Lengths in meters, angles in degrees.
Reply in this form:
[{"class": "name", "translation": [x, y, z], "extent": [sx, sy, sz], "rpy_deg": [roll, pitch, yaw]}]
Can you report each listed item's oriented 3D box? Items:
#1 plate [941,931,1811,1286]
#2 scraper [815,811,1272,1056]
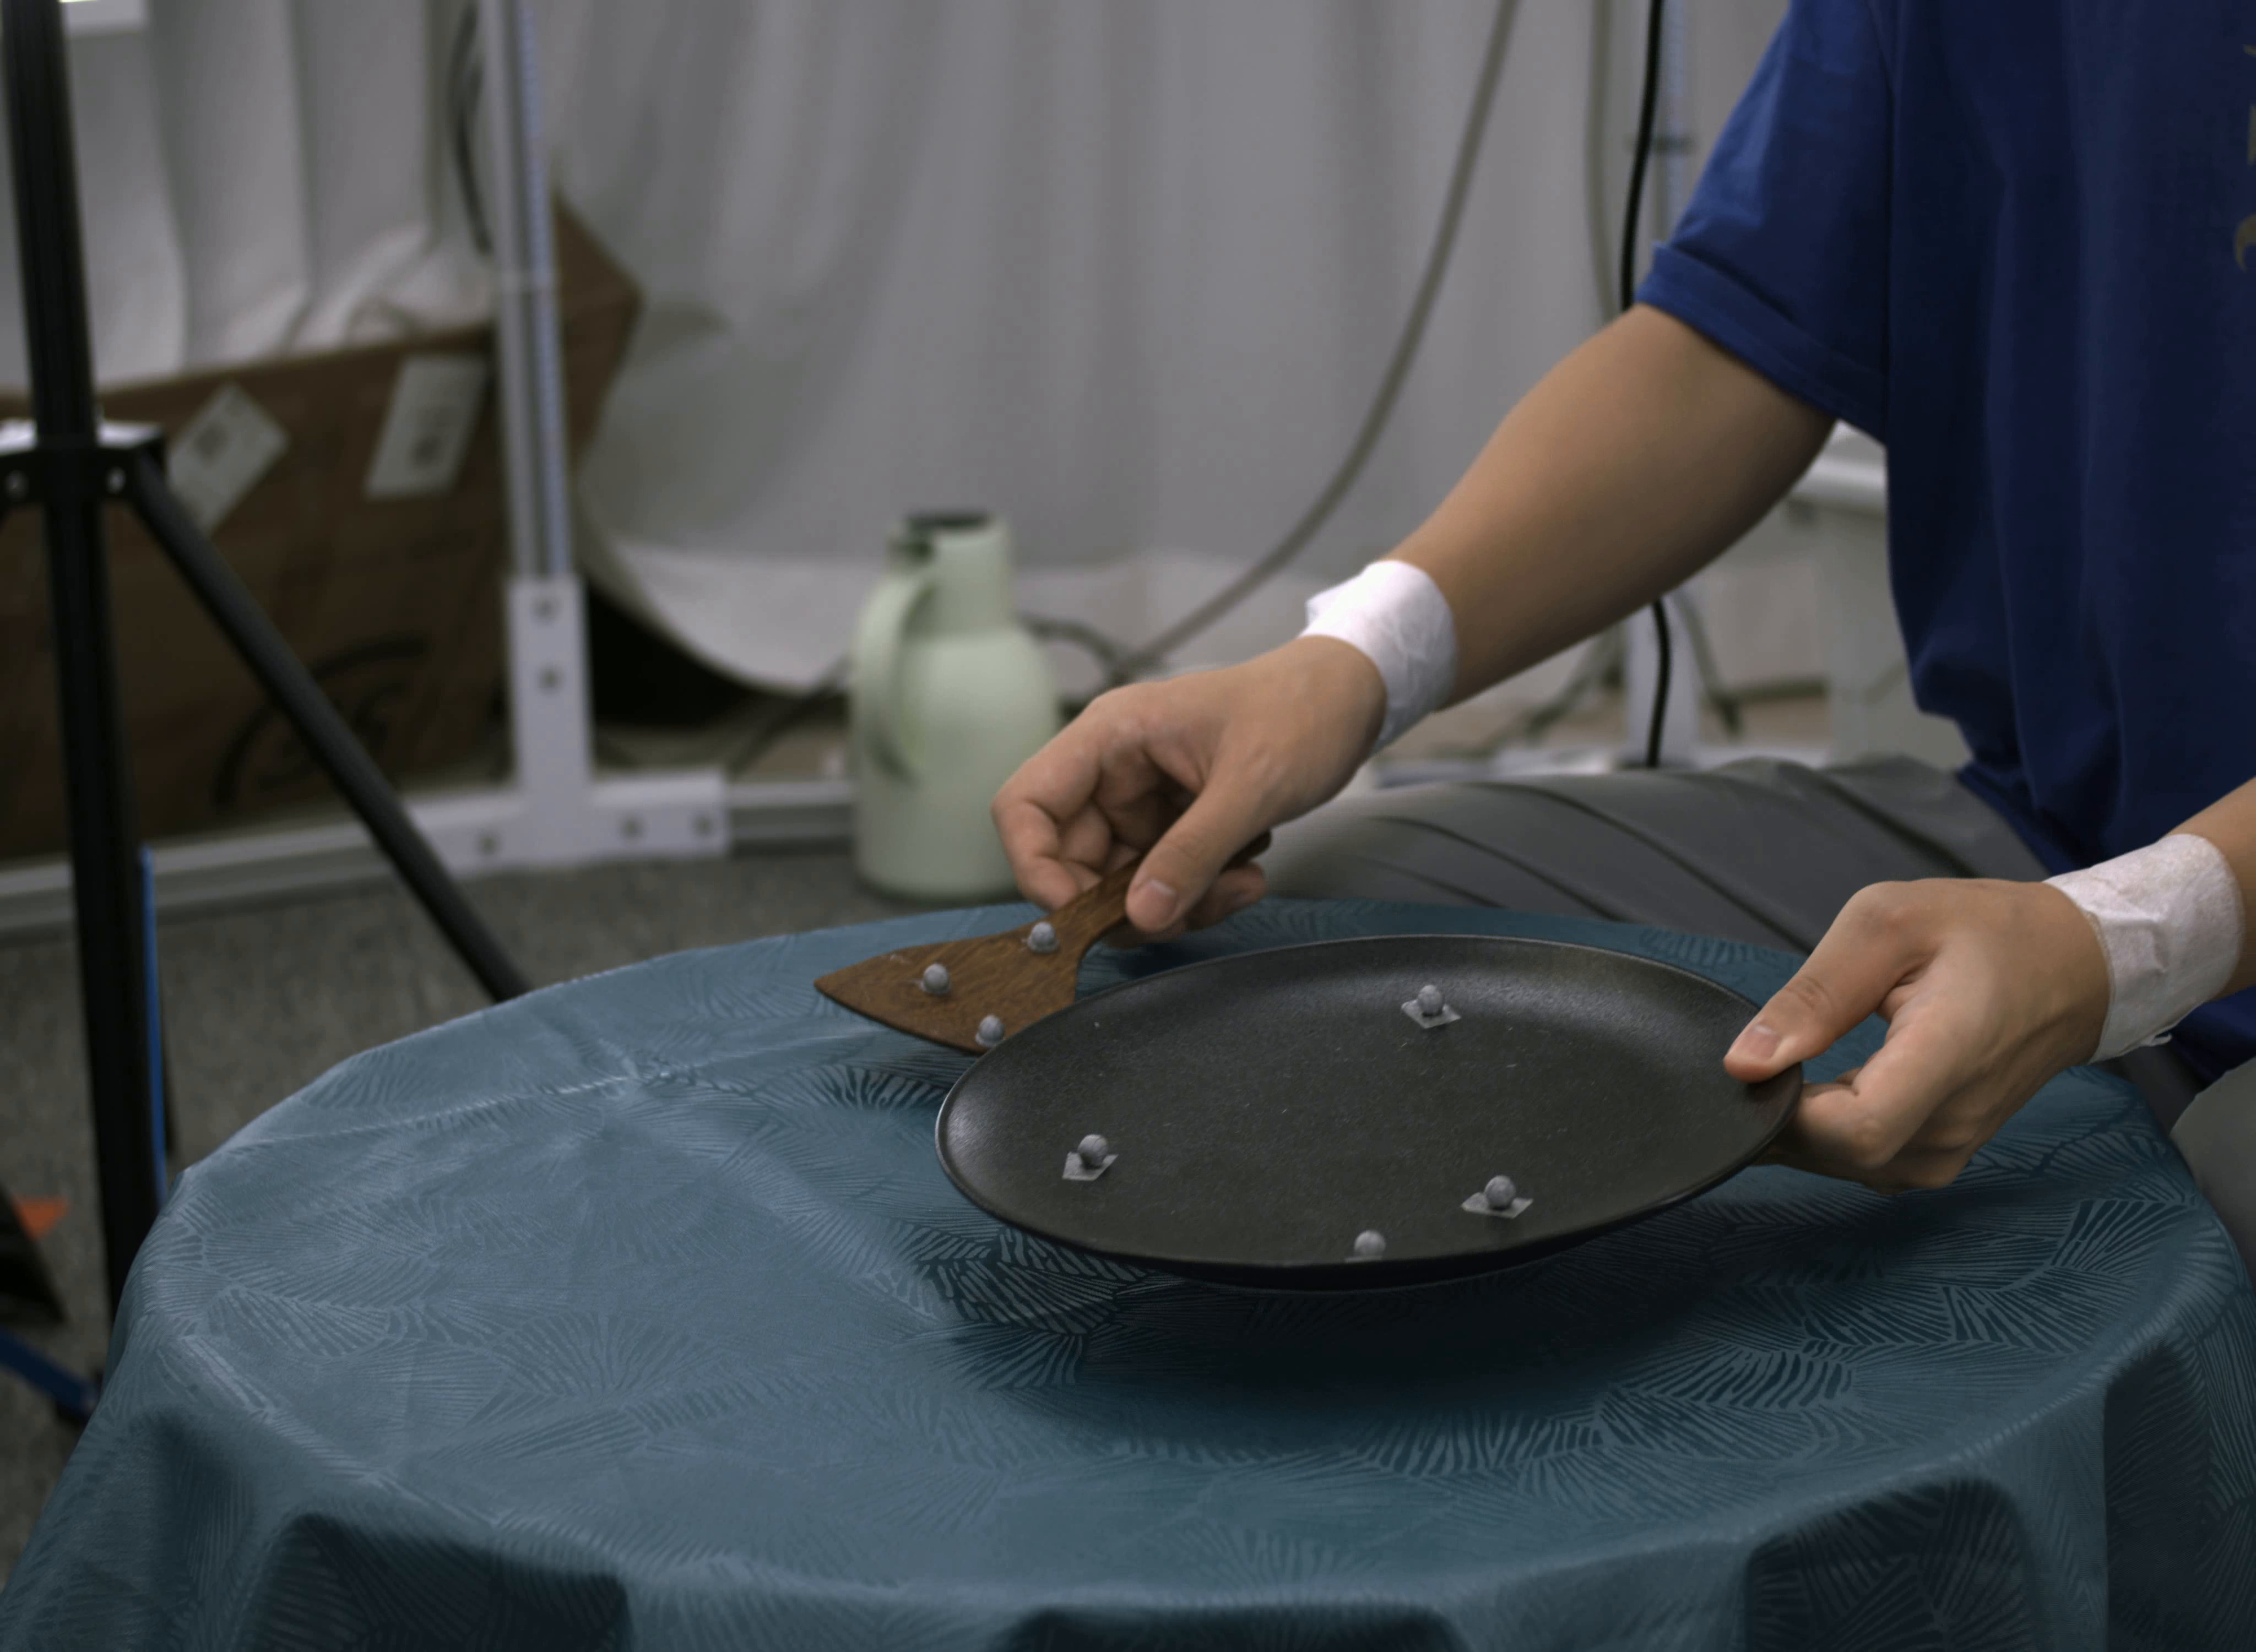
[{"class": "plate", "translation": [0.069, 0.082, 1.484], "extent": [0.243, 0.023, 0.246], "rpy_deg": [-6, 19, 1]}, {"class": "scraper", "translation": [-0.016, 0.031, 1.731], "extent": [0.077, 0.011, 0.207], "rpy_deg": [20, 29, 28]}]
